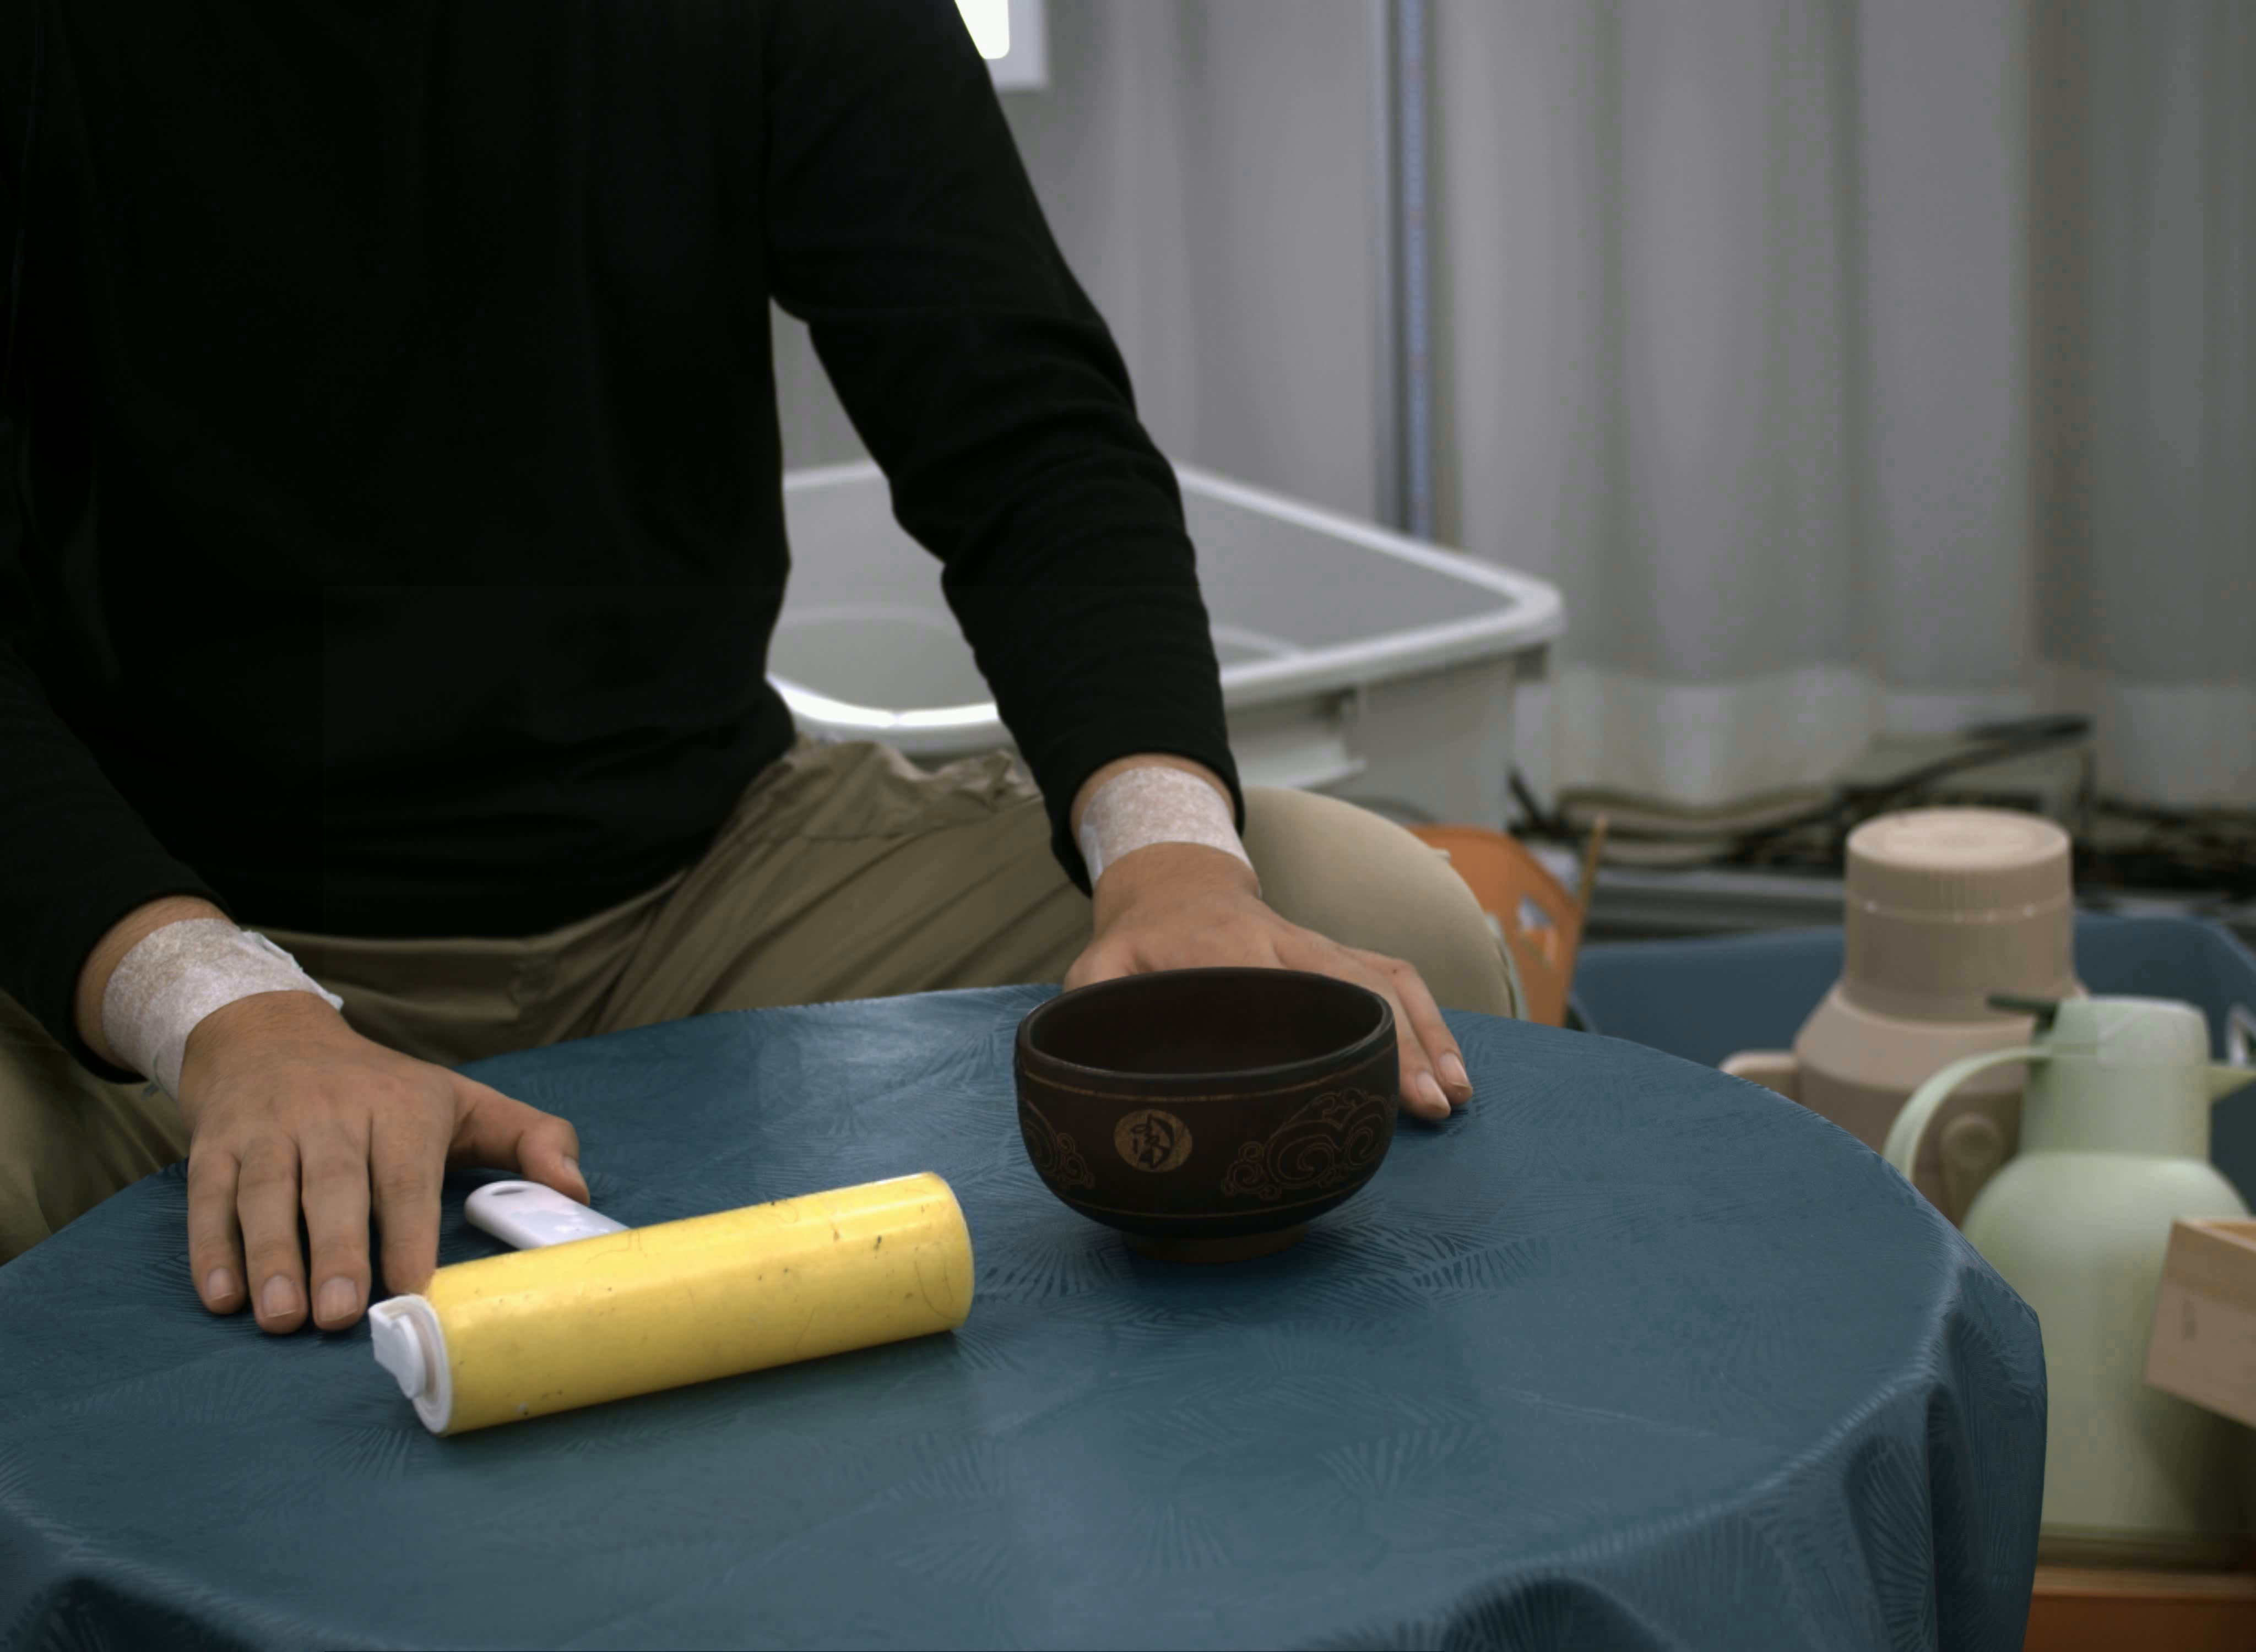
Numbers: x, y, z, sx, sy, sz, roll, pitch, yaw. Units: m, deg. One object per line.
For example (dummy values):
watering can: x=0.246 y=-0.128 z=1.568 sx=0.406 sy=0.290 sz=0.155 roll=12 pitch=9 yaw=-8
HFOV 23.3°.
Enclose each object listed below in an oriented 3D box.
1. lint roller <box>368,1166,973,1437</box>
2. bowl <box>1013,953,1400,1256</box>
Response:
lint roller: x=-0.160 y=0.119 z=1.627 sx=0.173 sy=0.051 sz=0.194 roll=-10 pitch=21 yaw=-26
bowl: x=0.024 y=0.089 z=1.663 sx=0.117 sy=0.069 sz=0.119 roll=-2 pitch=16 yaw=0
